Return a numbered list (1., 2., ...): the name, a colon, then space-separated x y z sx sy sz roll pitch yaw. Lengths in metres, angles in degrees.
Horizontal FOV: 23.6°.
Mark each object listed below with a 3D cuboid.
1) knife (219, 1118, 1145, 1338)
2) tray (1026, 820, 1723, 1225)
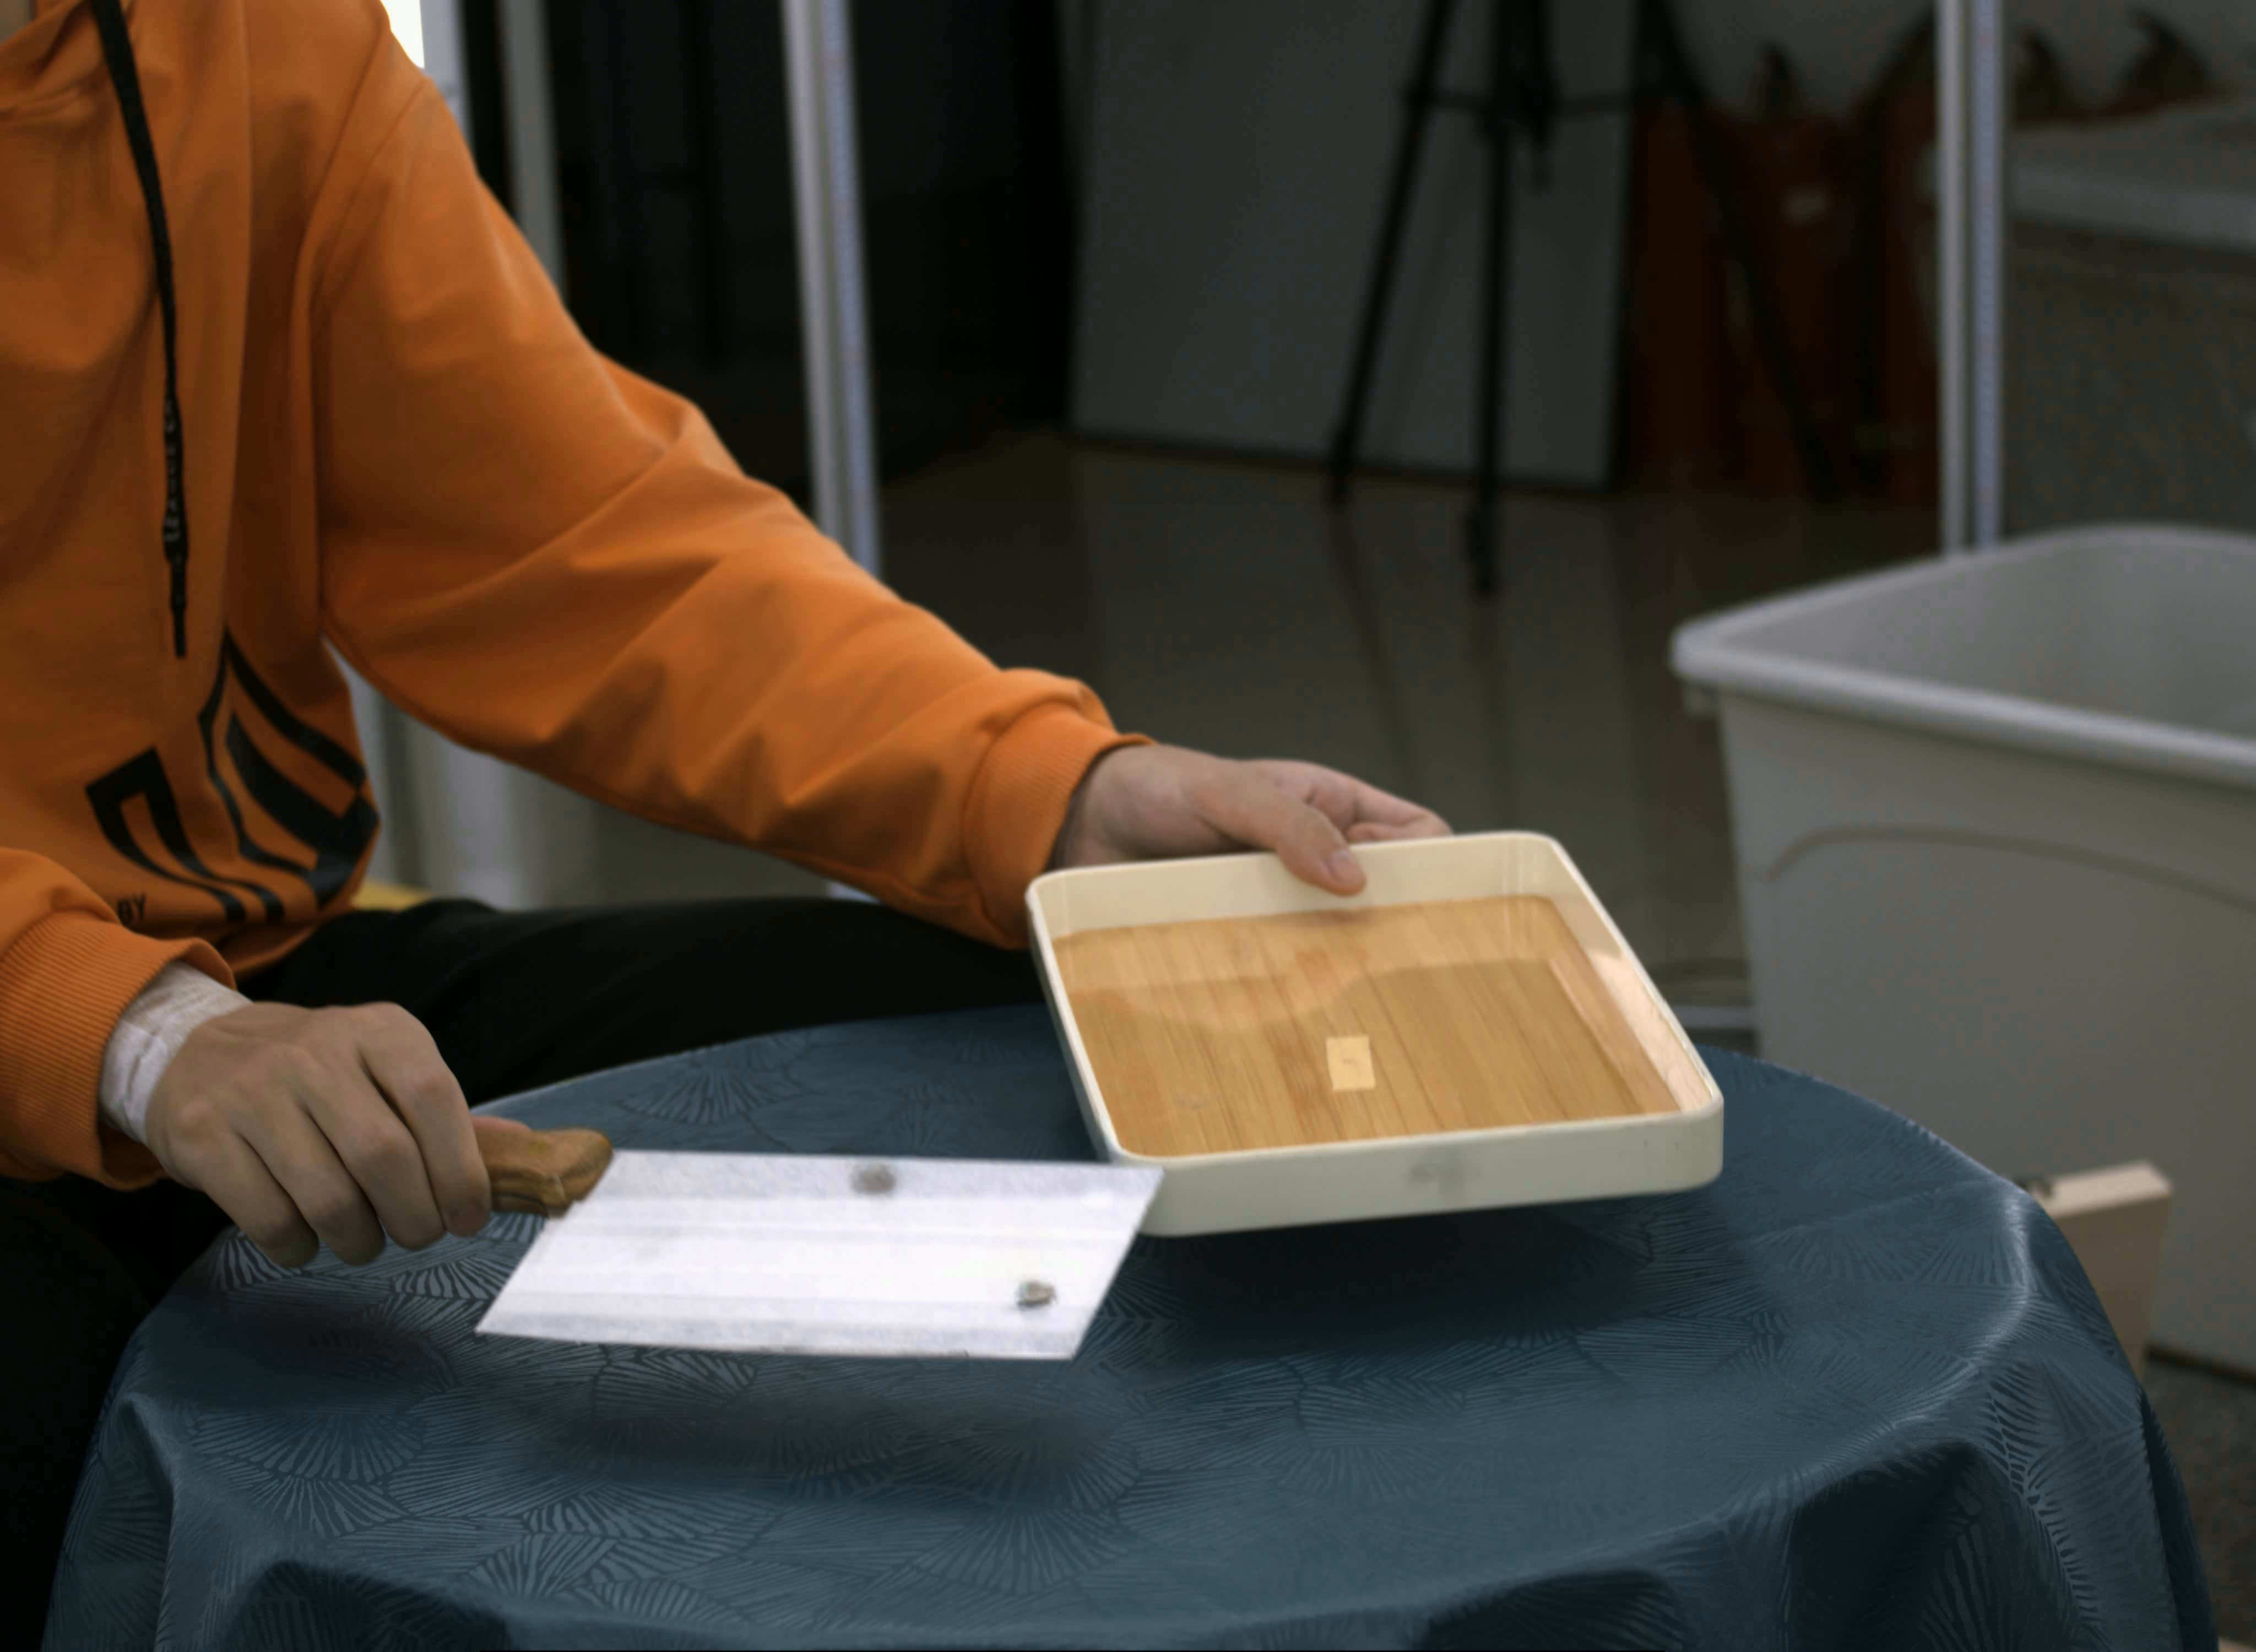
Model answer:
1. knife: -0.143 0.119 1.587 0.306 0.021 0.092 -1 34 24
2. tray: 0.073 0.059 1.744 0.189 0.028 0.301 -6 17 -4
